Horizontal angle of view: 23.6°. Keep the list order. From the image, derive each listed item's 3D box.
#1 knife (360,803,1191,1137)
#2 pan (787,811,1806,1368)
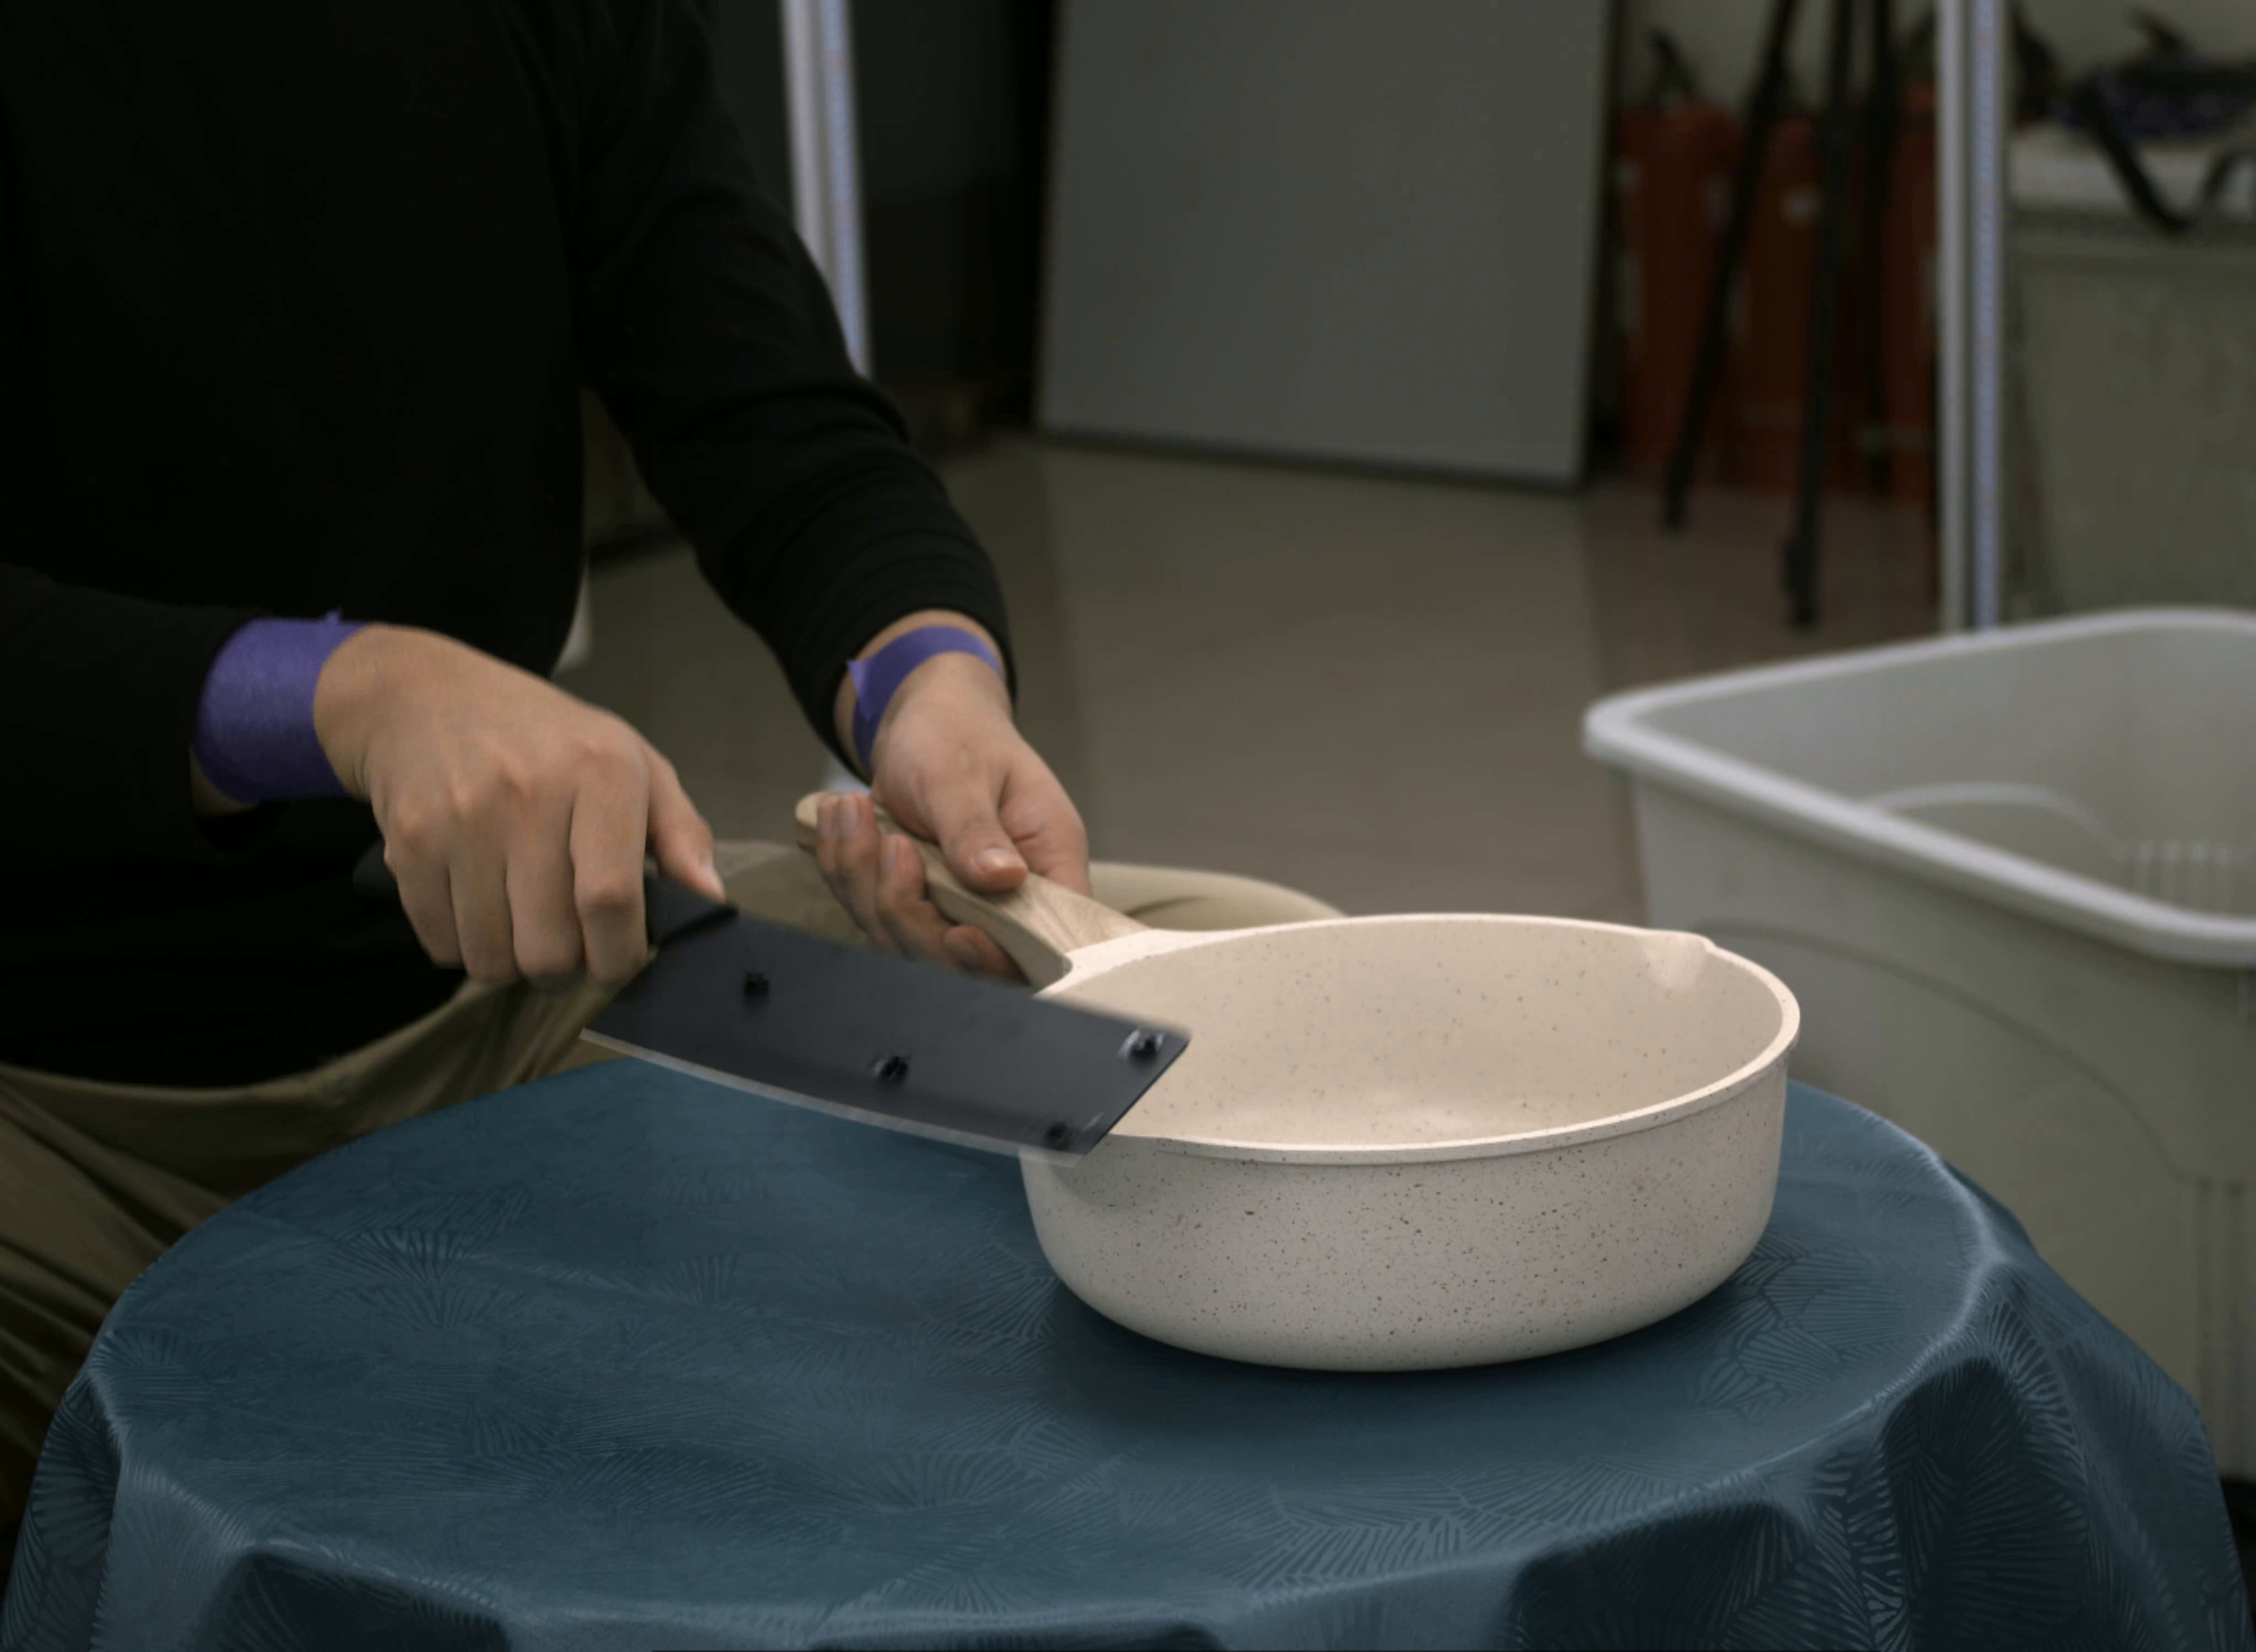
[{"bbox_3d":[-0.115,0.040,1.598,0.305,0.021,0.080,17,46,37],"label":"knife"},{"bbox_3d":[0.030,0.076,1.741,0.258,0.103,0.439,-16,18,-36],"label":"pan"}]
